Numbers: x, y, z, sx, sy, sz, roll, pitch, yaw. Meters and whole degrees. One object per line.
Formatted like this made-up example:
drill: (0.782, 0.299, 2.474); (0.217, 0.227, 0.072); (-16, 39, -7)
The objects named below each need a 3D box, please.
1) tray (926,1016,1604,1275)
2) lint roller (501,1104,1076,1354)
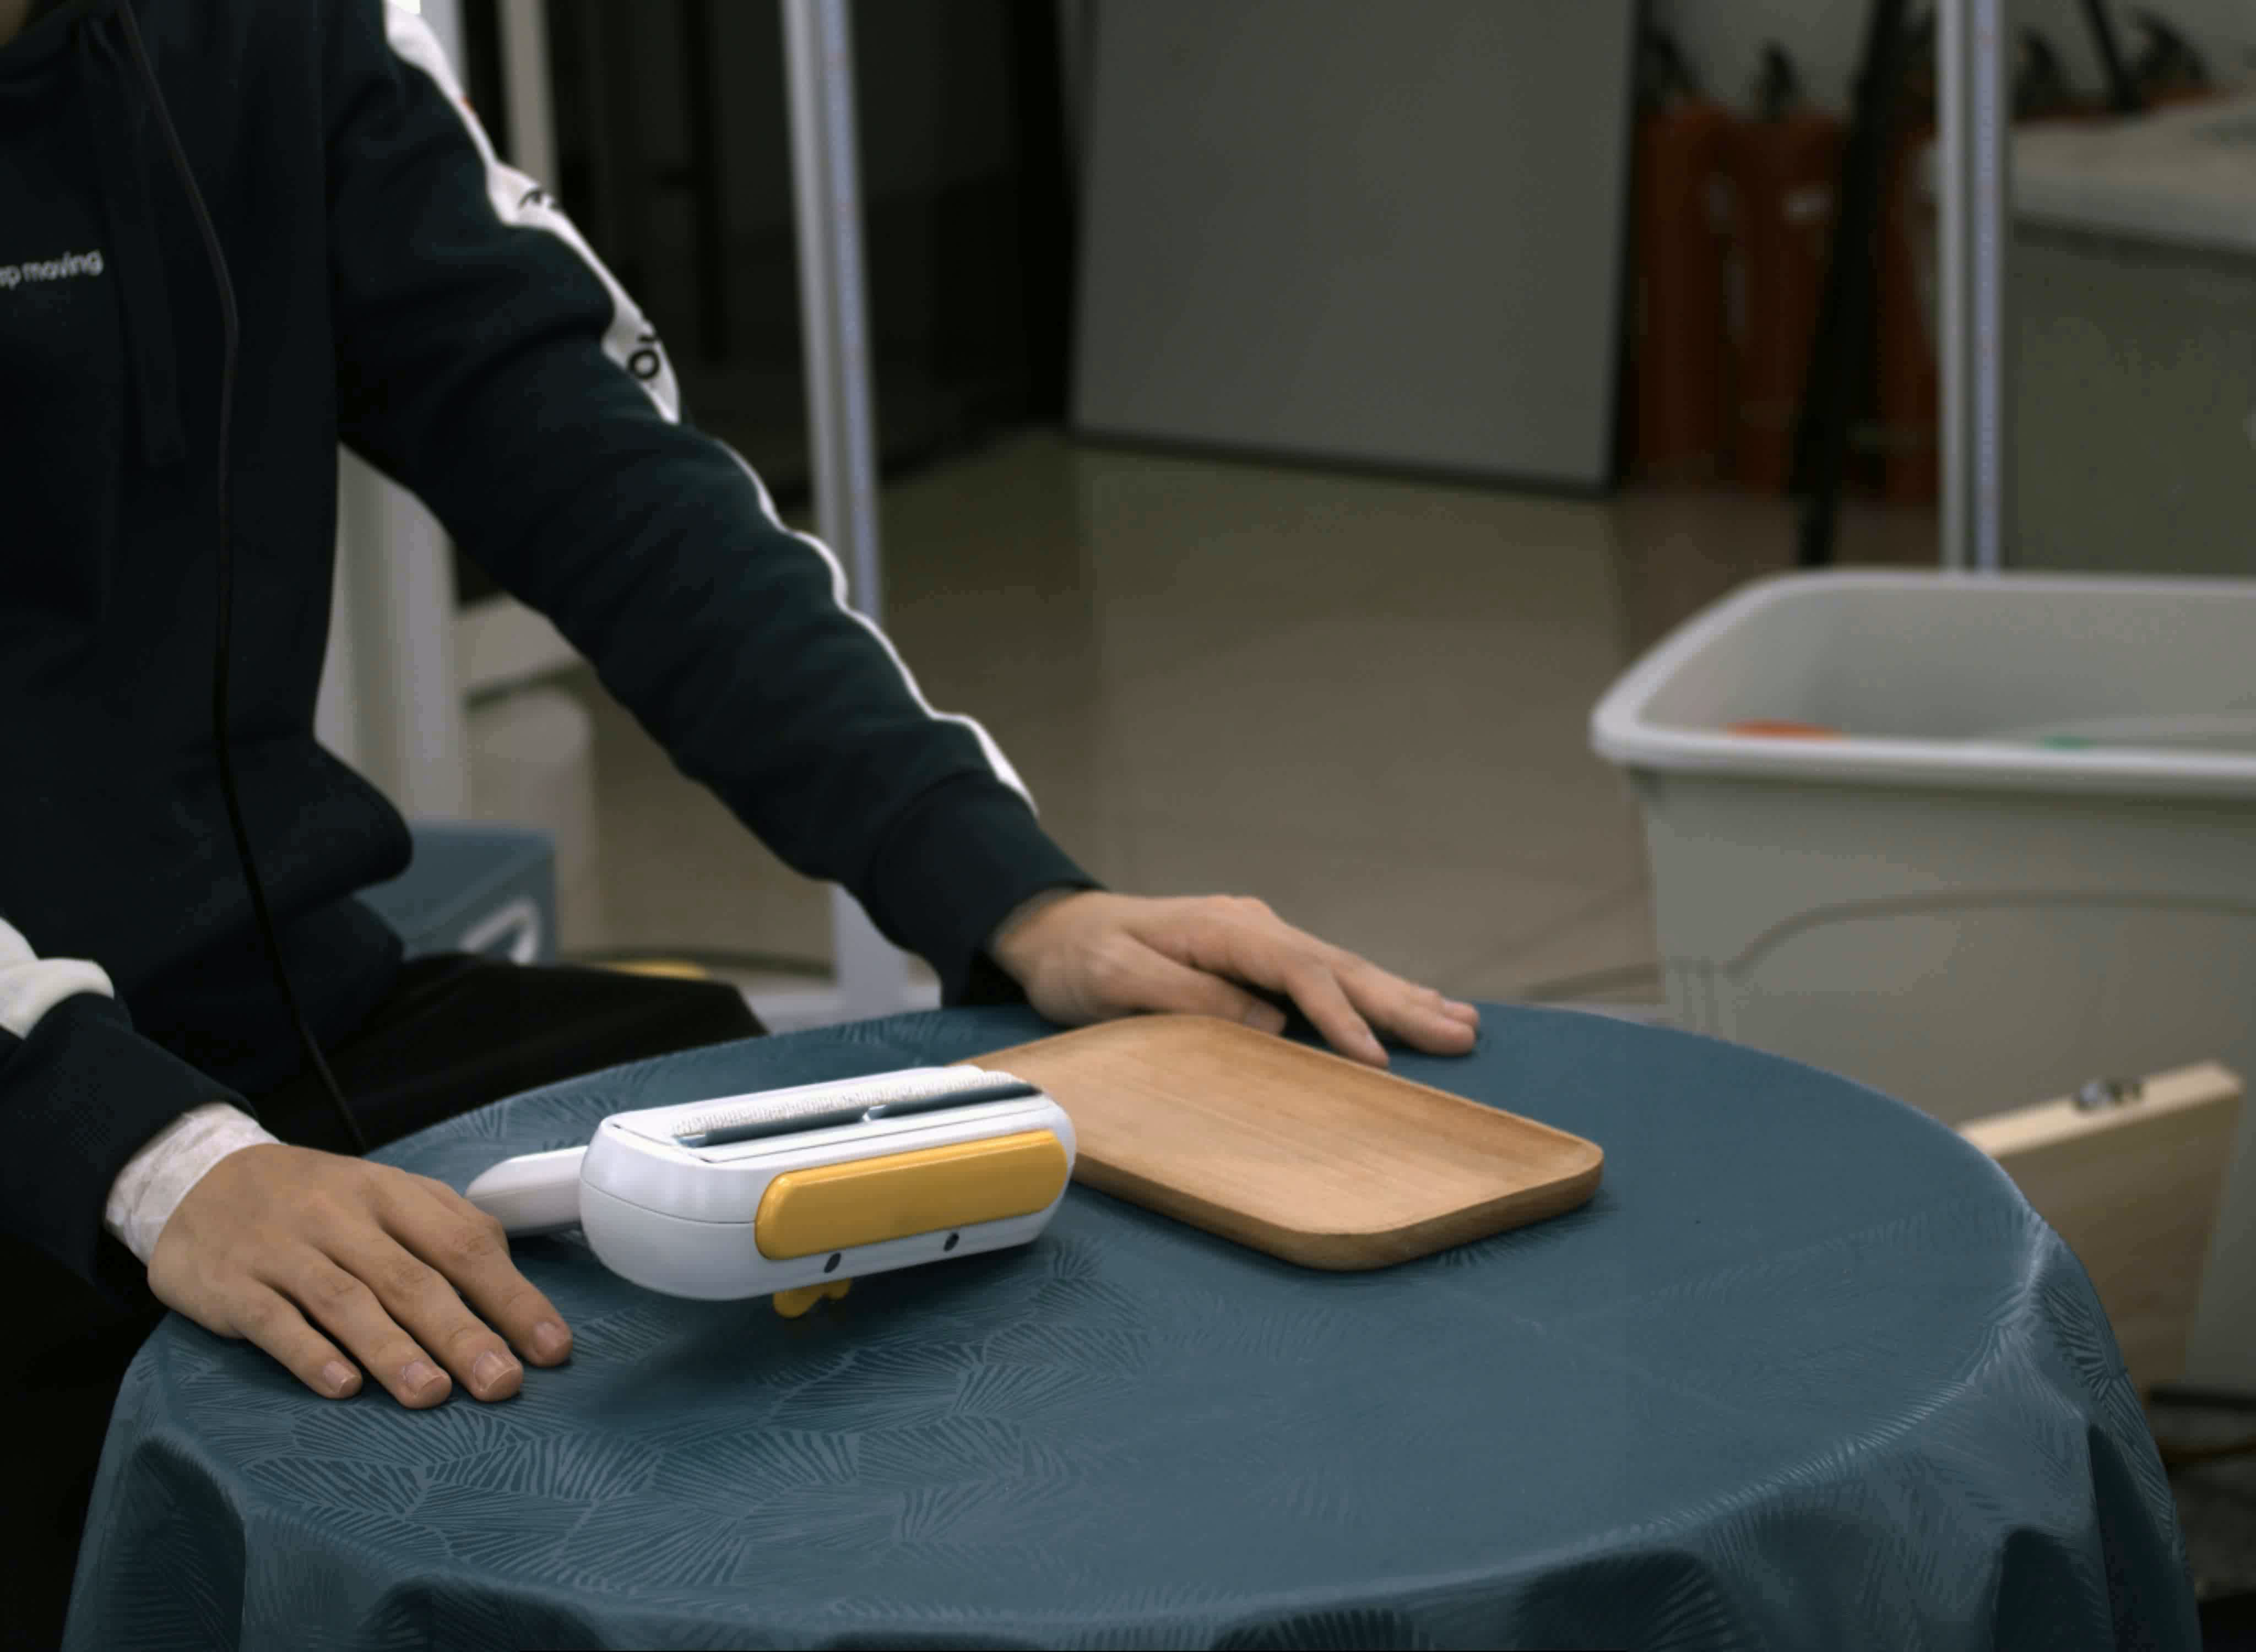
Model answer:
tray: (0.042, 0.104, 1.795); (0.127, 0.023, 0.253); (-11, 15, -33)
lint roller: (-0.134, 0.131, 1.708); (0.188, 0.075, 0.194); (-8, -2, -45)
